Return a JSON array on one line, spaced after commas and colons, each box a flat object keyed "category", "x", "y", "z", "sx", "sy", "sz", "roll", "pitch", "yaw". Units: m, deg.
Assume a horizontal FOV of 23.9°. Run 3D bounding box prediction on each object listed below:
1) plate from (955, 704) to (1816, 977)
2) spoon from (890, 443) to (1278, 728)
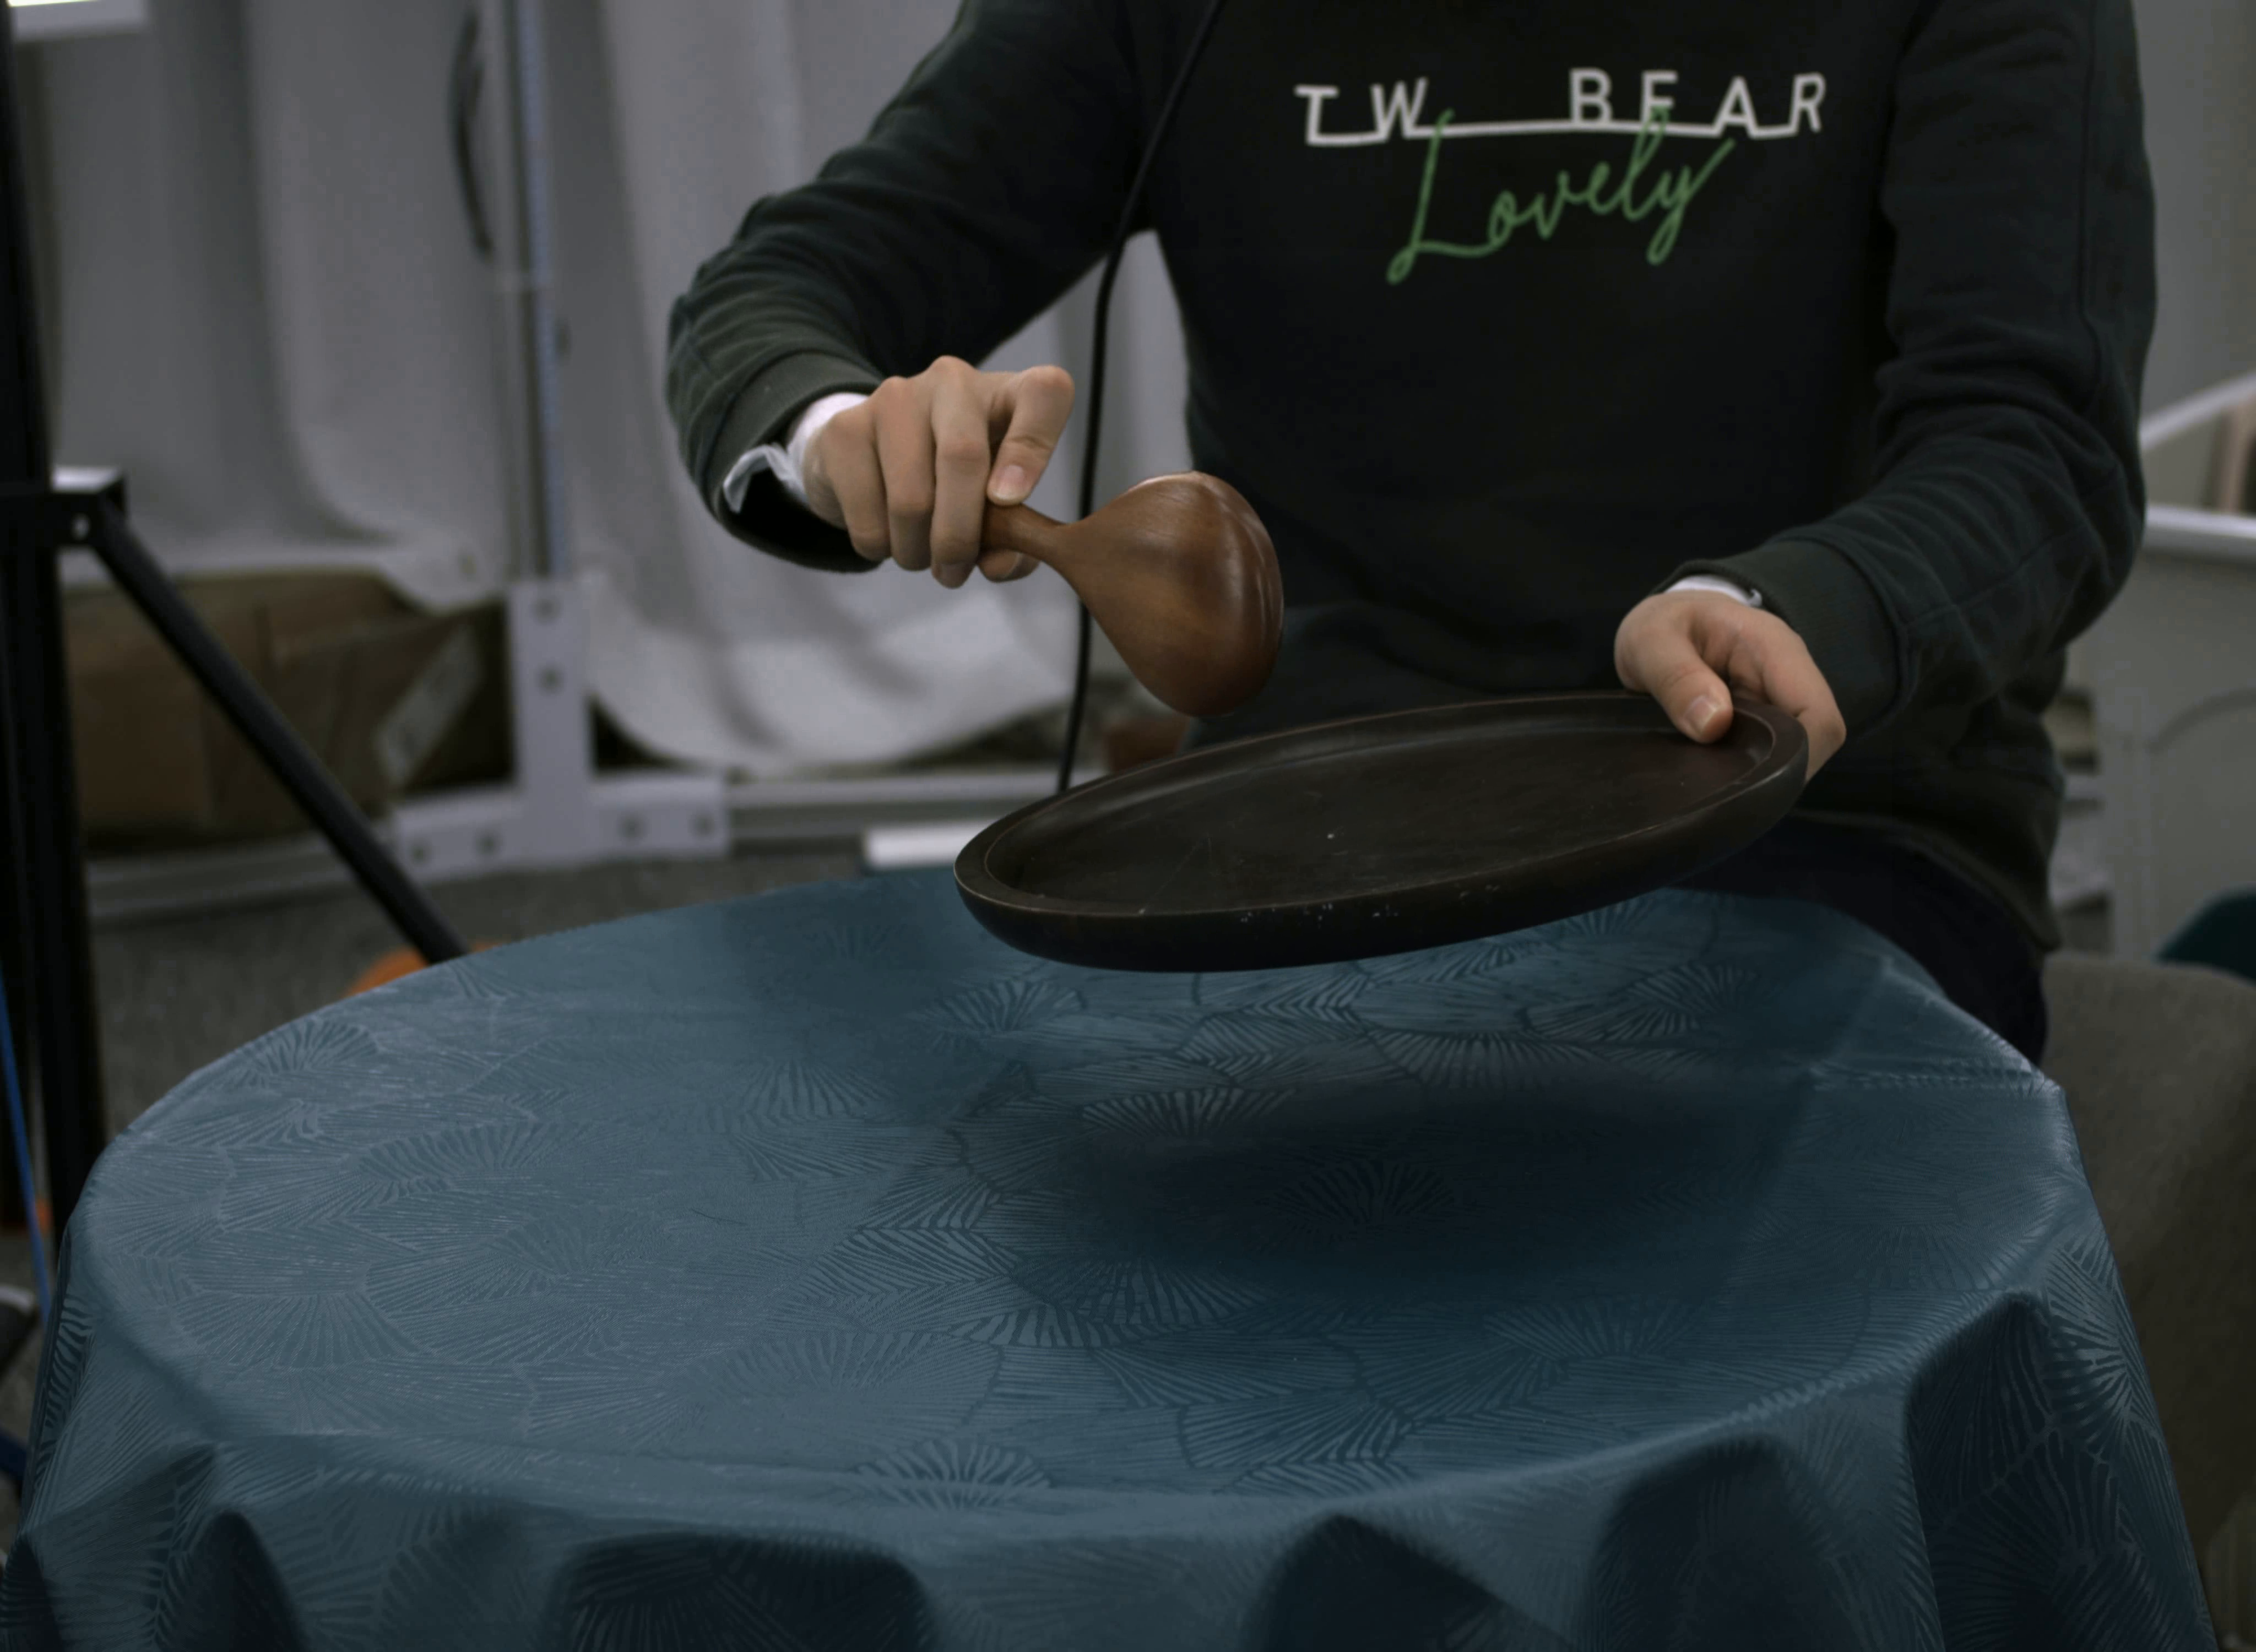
[{"category": "plate", "x": 0.075, "y": 0.002, "z": 1.550, "sx": 0.254, "sy": 0.029, "sz": 0.256, "roll": -9, "pitch": 13, "yaw": 1}, {"category": "spoon", "x": -0.017, "y": -0.084, "z": 1.632, "sx": 0.017, "sy": 0.075, "sz": 0.220, "roll": -7, "pitch": 18, "yaw": -30}]
